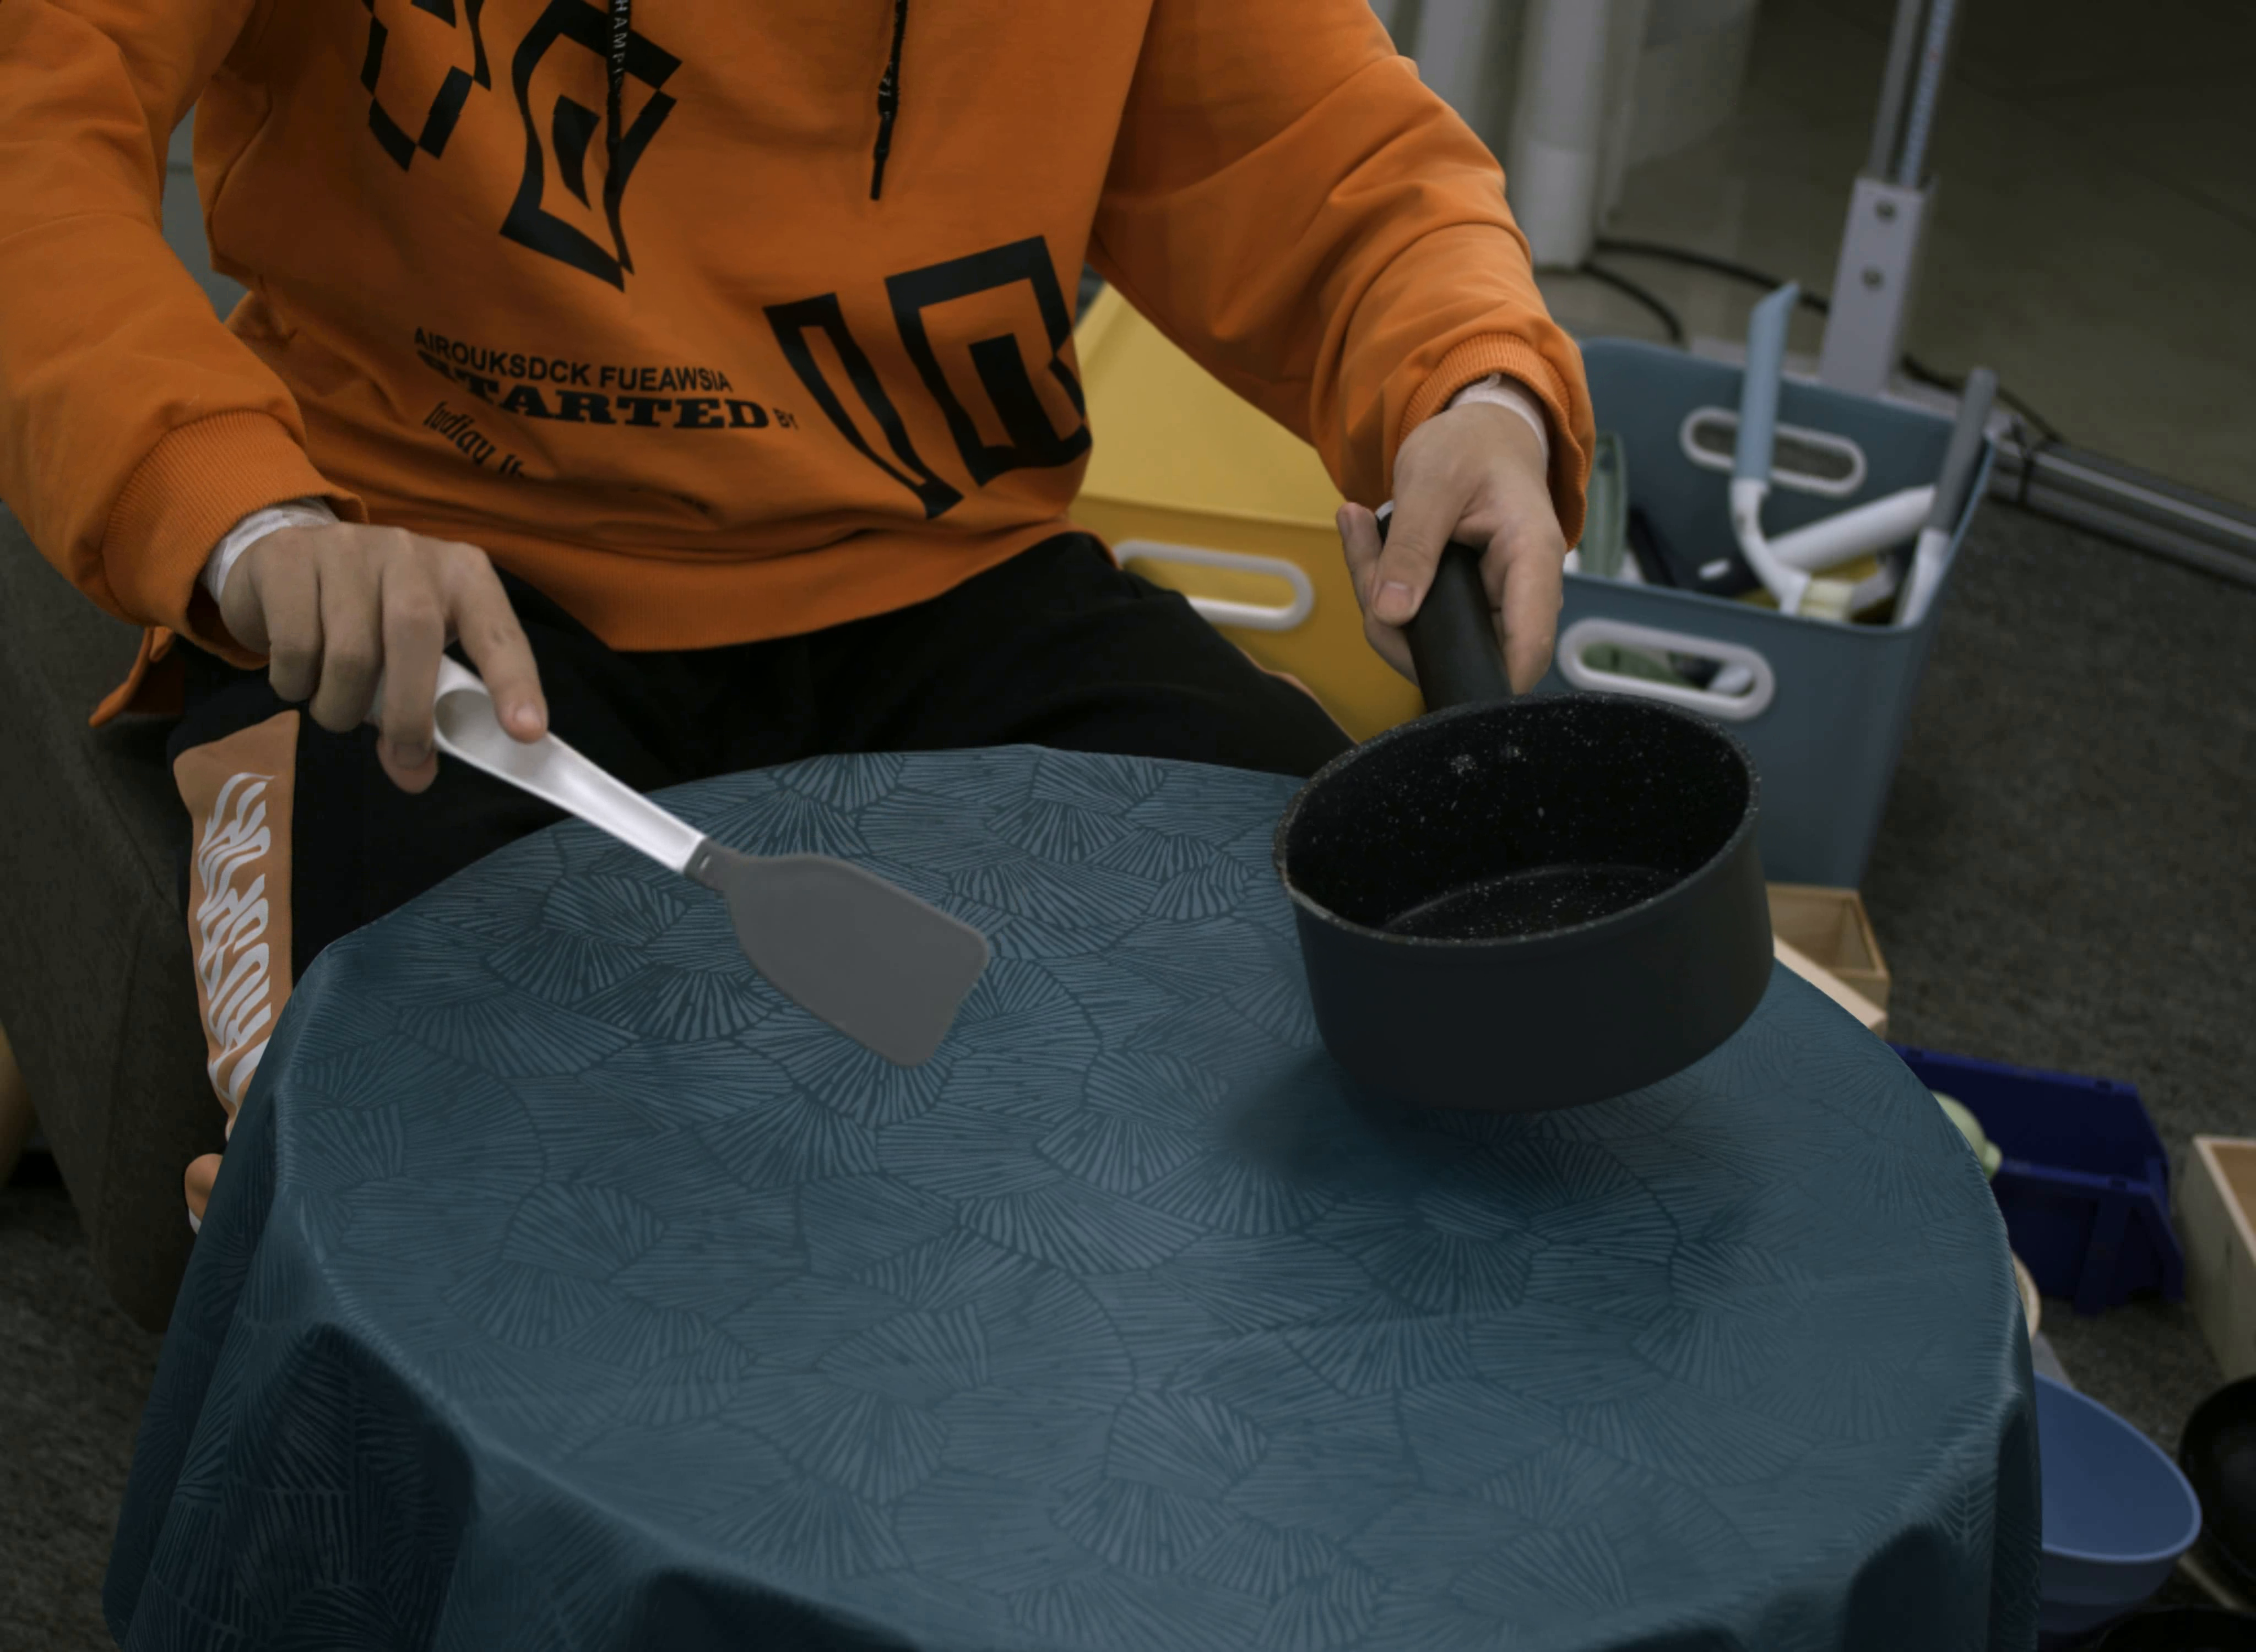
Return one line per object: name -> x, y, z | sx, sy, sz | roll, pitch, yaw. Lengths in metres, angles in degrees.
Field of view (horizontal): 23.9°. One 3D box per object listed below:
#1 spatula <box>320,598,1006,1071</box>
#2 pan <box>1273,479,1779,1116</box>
spatula -> -0.164, -0.004, 1.803 | 0.289, 0.032, 0.059 | 29, 77, 29
pan -> 0.135, -0.014, 1.922 | 0.171, 0.086, 0.331 | -10, 30, 2
